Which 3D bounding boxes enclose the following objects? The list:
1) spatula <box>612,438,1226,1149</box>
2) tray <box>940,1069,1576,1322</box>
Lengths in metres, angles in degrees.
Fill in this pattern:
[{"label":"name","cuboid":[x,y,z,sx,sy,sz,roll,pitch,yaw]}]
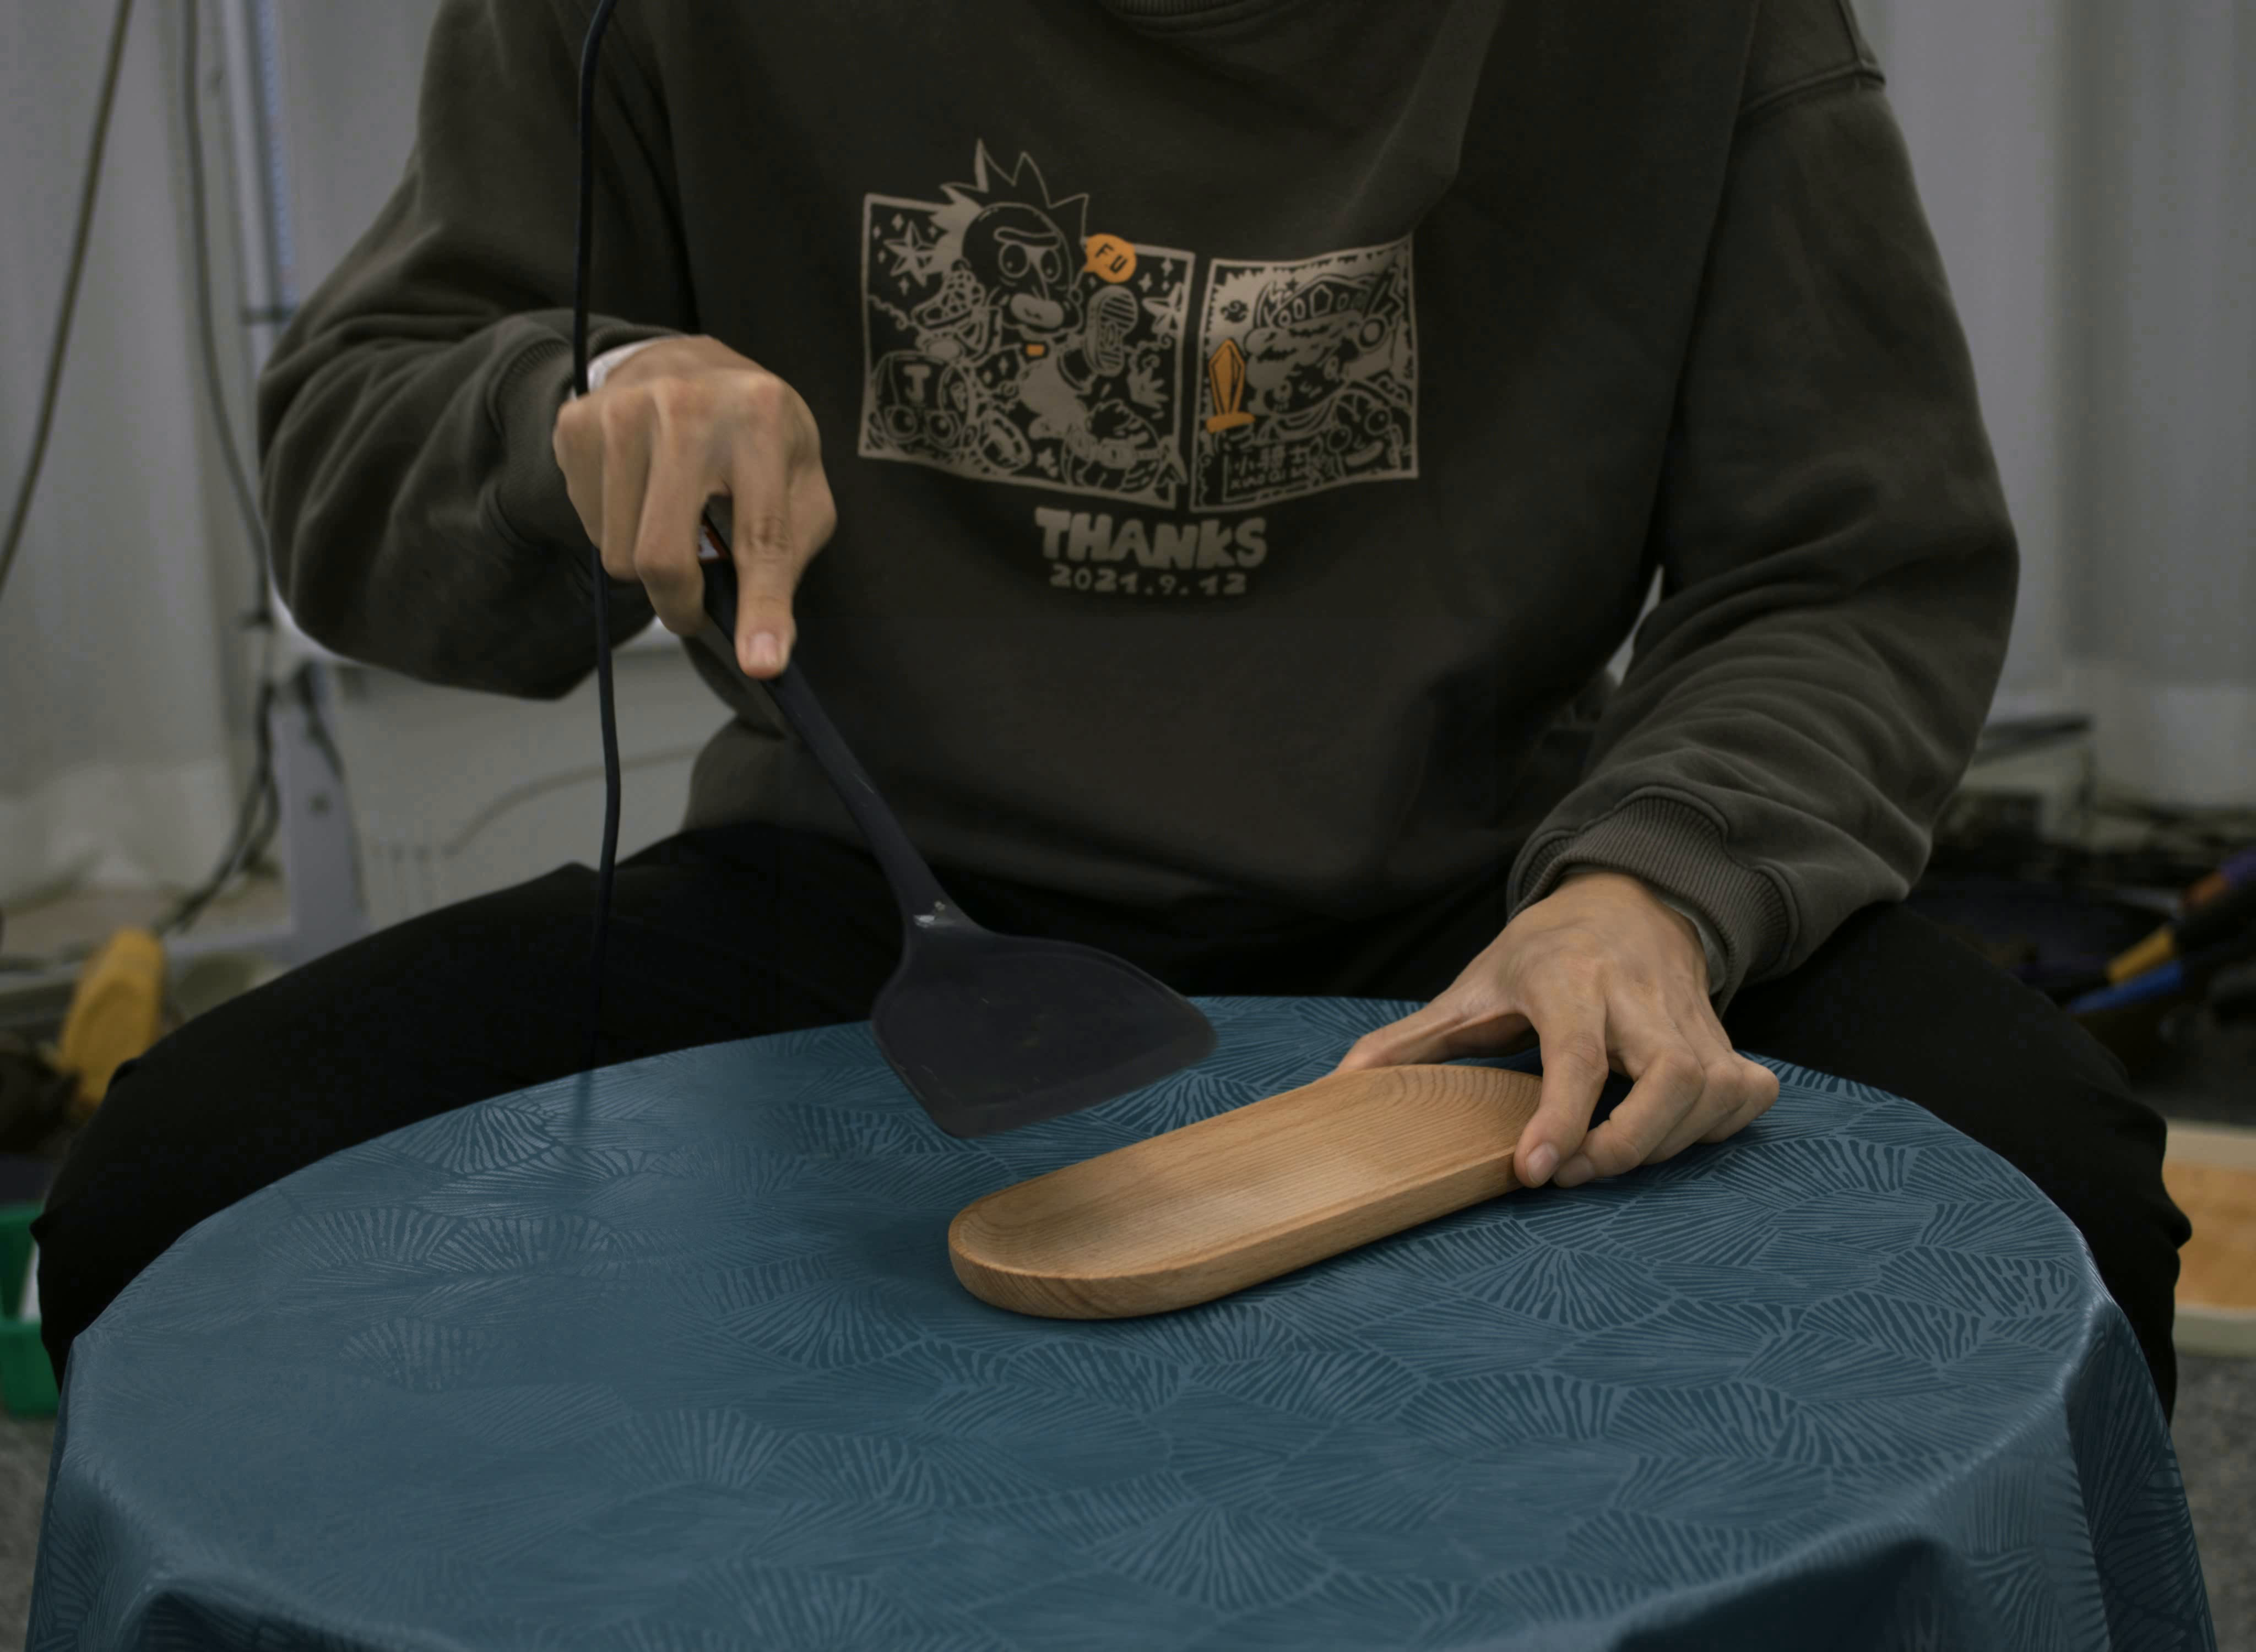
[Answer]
[{"label":"spatula","cuboid":[-0.087,-0.020,1.730,0.099,0.040,0.330,-17,55,-26]},{"label":"tray","cuboid":[0.043,0.113,1.689,0.231,0.020,0.102,-17,19,-39]}]
